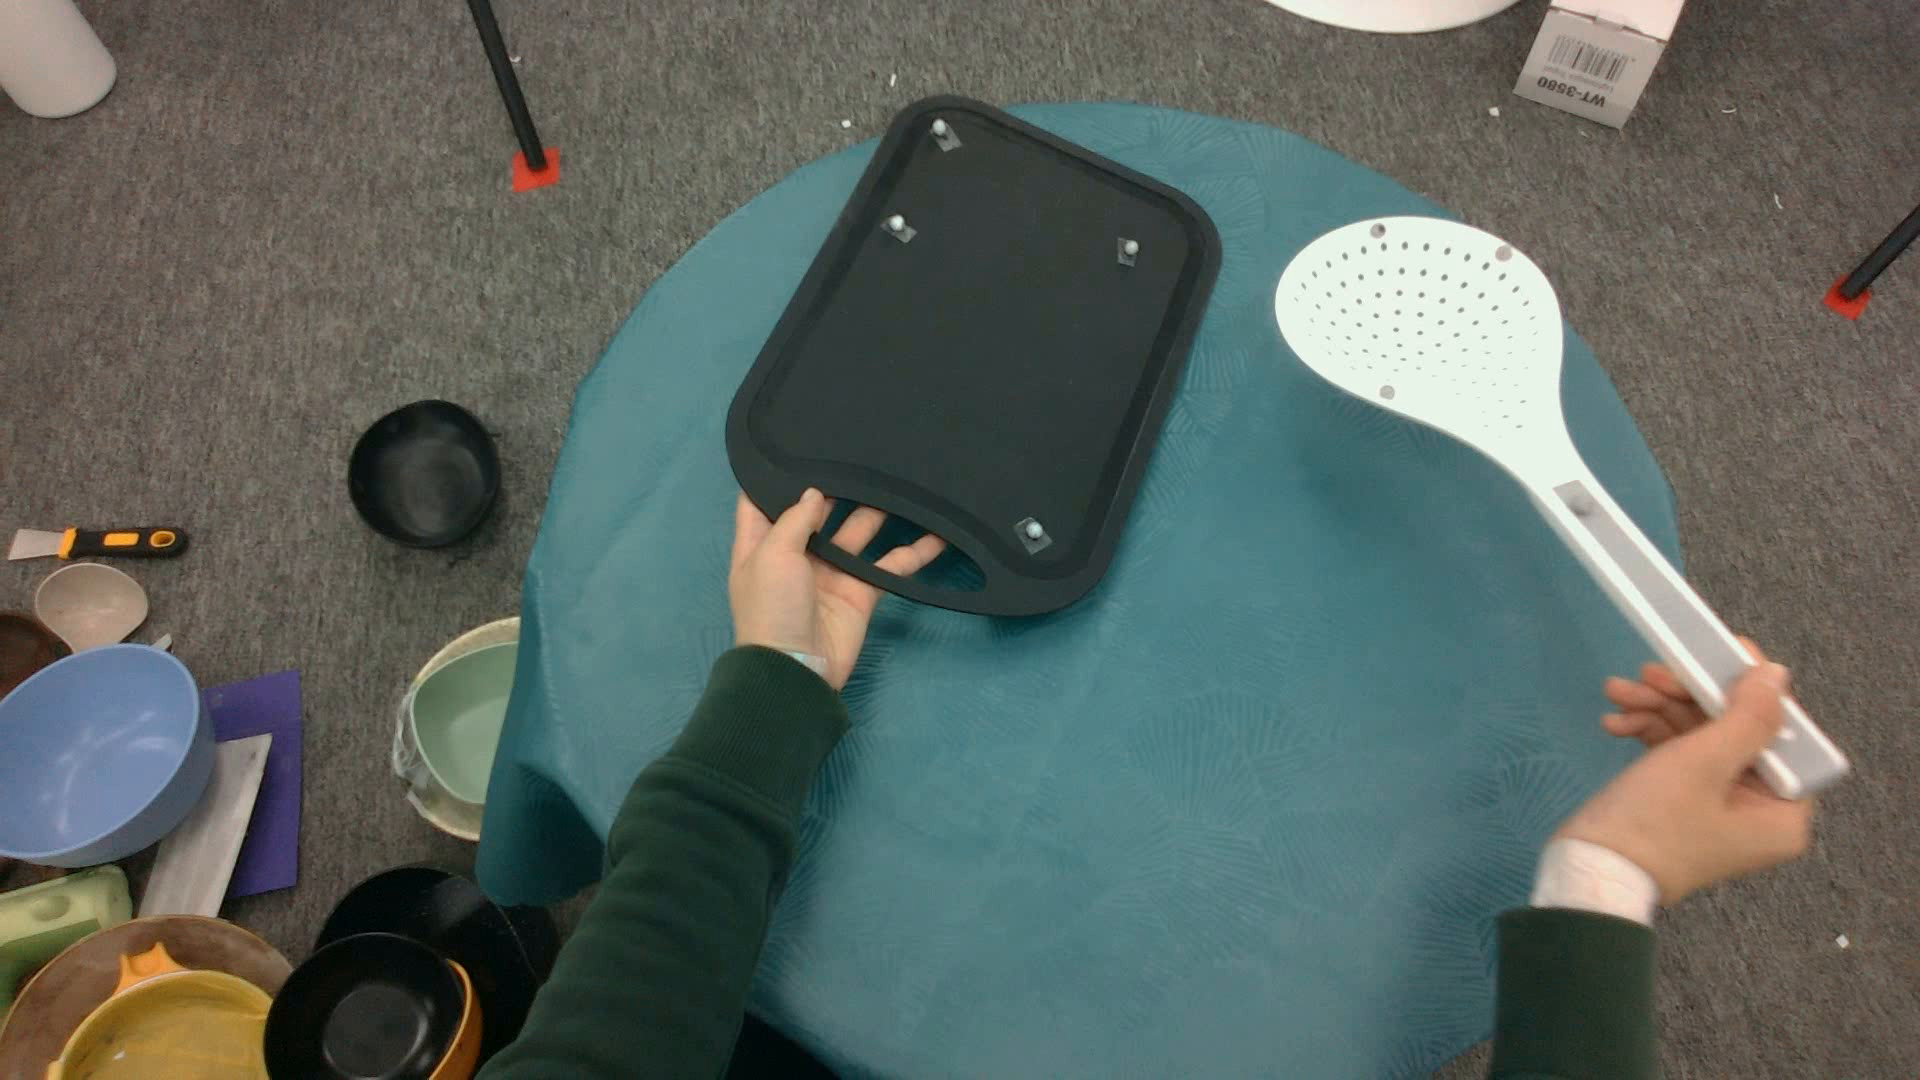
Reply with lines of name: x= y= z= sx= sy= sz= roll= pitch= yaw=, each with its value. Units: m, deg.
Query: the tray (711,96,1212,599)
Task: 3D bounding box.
tray: x=0.009 y=-0.115 z=0.745 sx=0.211 sy=0.010 sz=0.327 roll=23 pitch=59 yaw=2

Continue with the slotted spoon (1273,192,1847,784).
slotted spoon: x=0.263 y=-0.041 z=0.621 sx=0.136 sy=0.045 sz=0.351 roll=-20 pitch=50 yaw=-8
